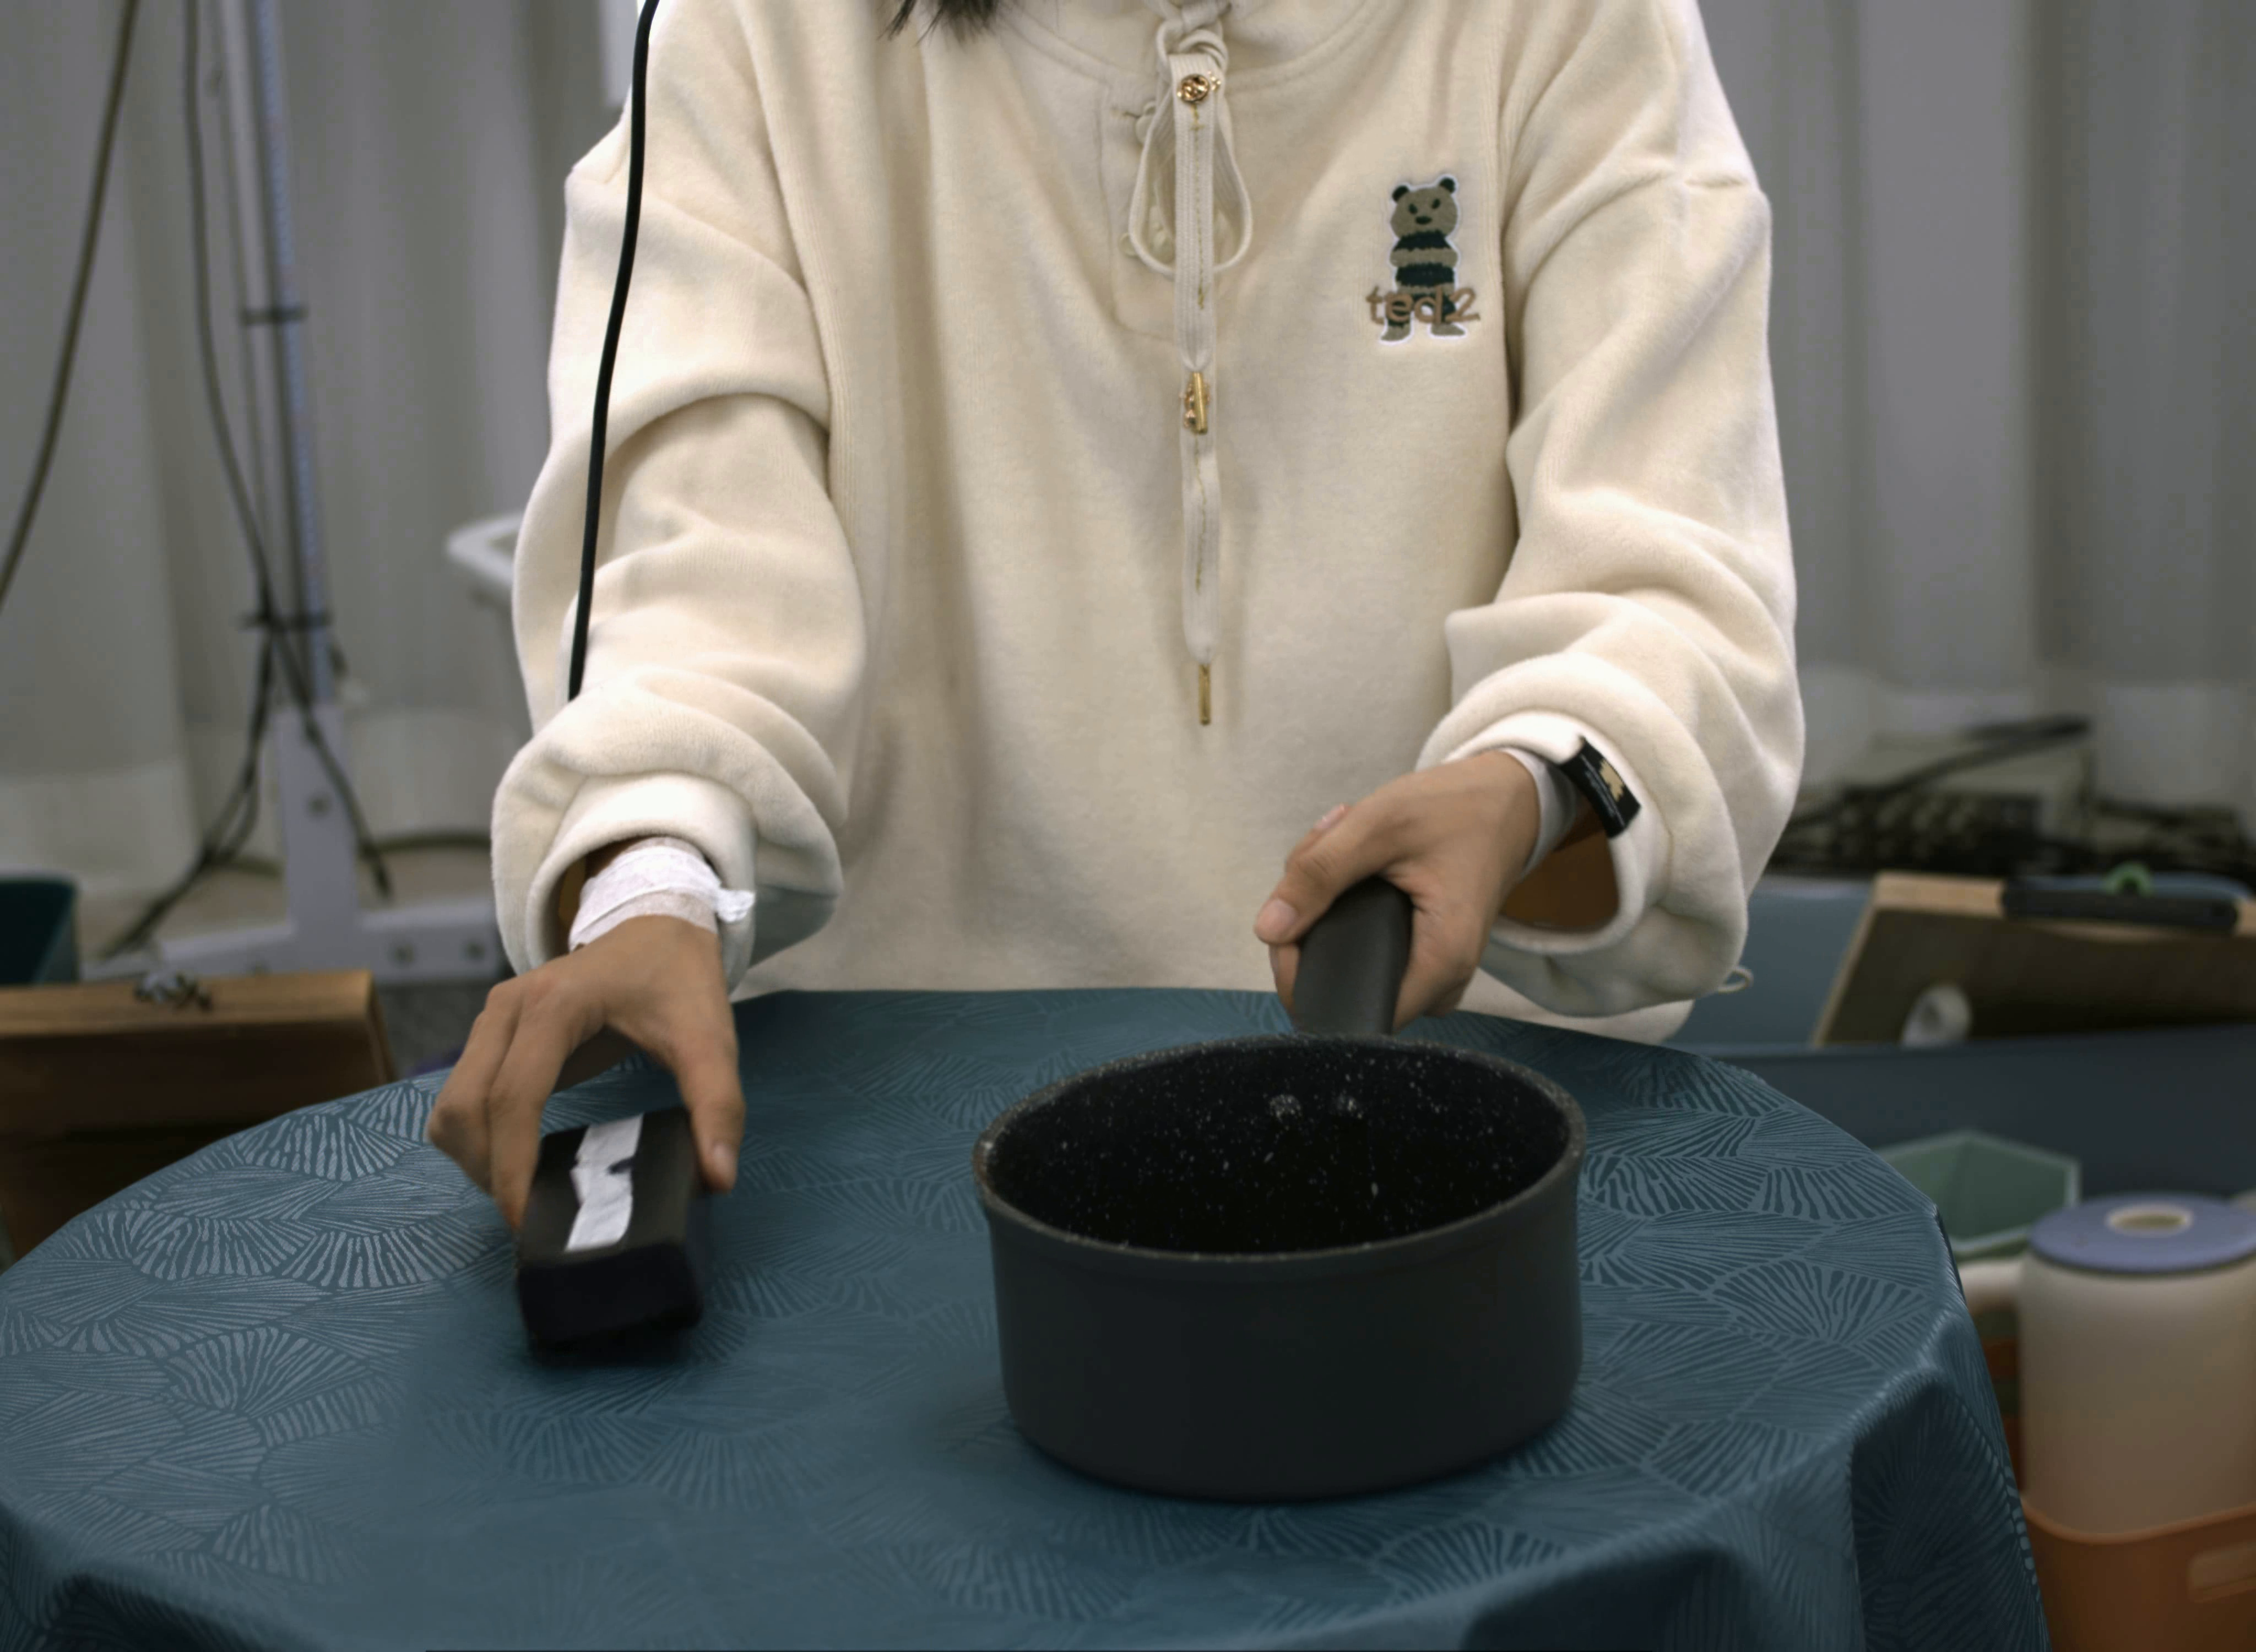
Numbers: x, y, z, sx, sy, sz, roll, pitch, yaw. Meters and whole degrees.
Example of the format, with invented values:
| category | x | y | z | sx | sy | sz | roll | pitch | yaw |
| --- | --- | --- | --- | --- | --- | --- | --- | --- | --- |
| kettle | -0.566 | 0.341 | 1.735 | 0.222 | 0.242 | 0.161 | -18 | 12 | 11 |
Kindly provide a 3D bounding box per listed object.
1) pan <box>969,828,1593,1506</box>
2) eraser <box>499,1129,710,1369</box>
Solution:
| category | x | y | z | sx | sy | sz | roll | pitch | yaw |
| --- | --- | --- | --- | --- | --- | --- | --- | --- | --- |
| pan | 0.060 | 0.095 | 1.590 | 0.172 | 0.086 | 0.331 | 0 | 19 | 12 |
| eraser | -0.154 | 0.125 | 1.630 | 0.053 | 0.030 | 0.126 | -10 | 15 | 2 |
